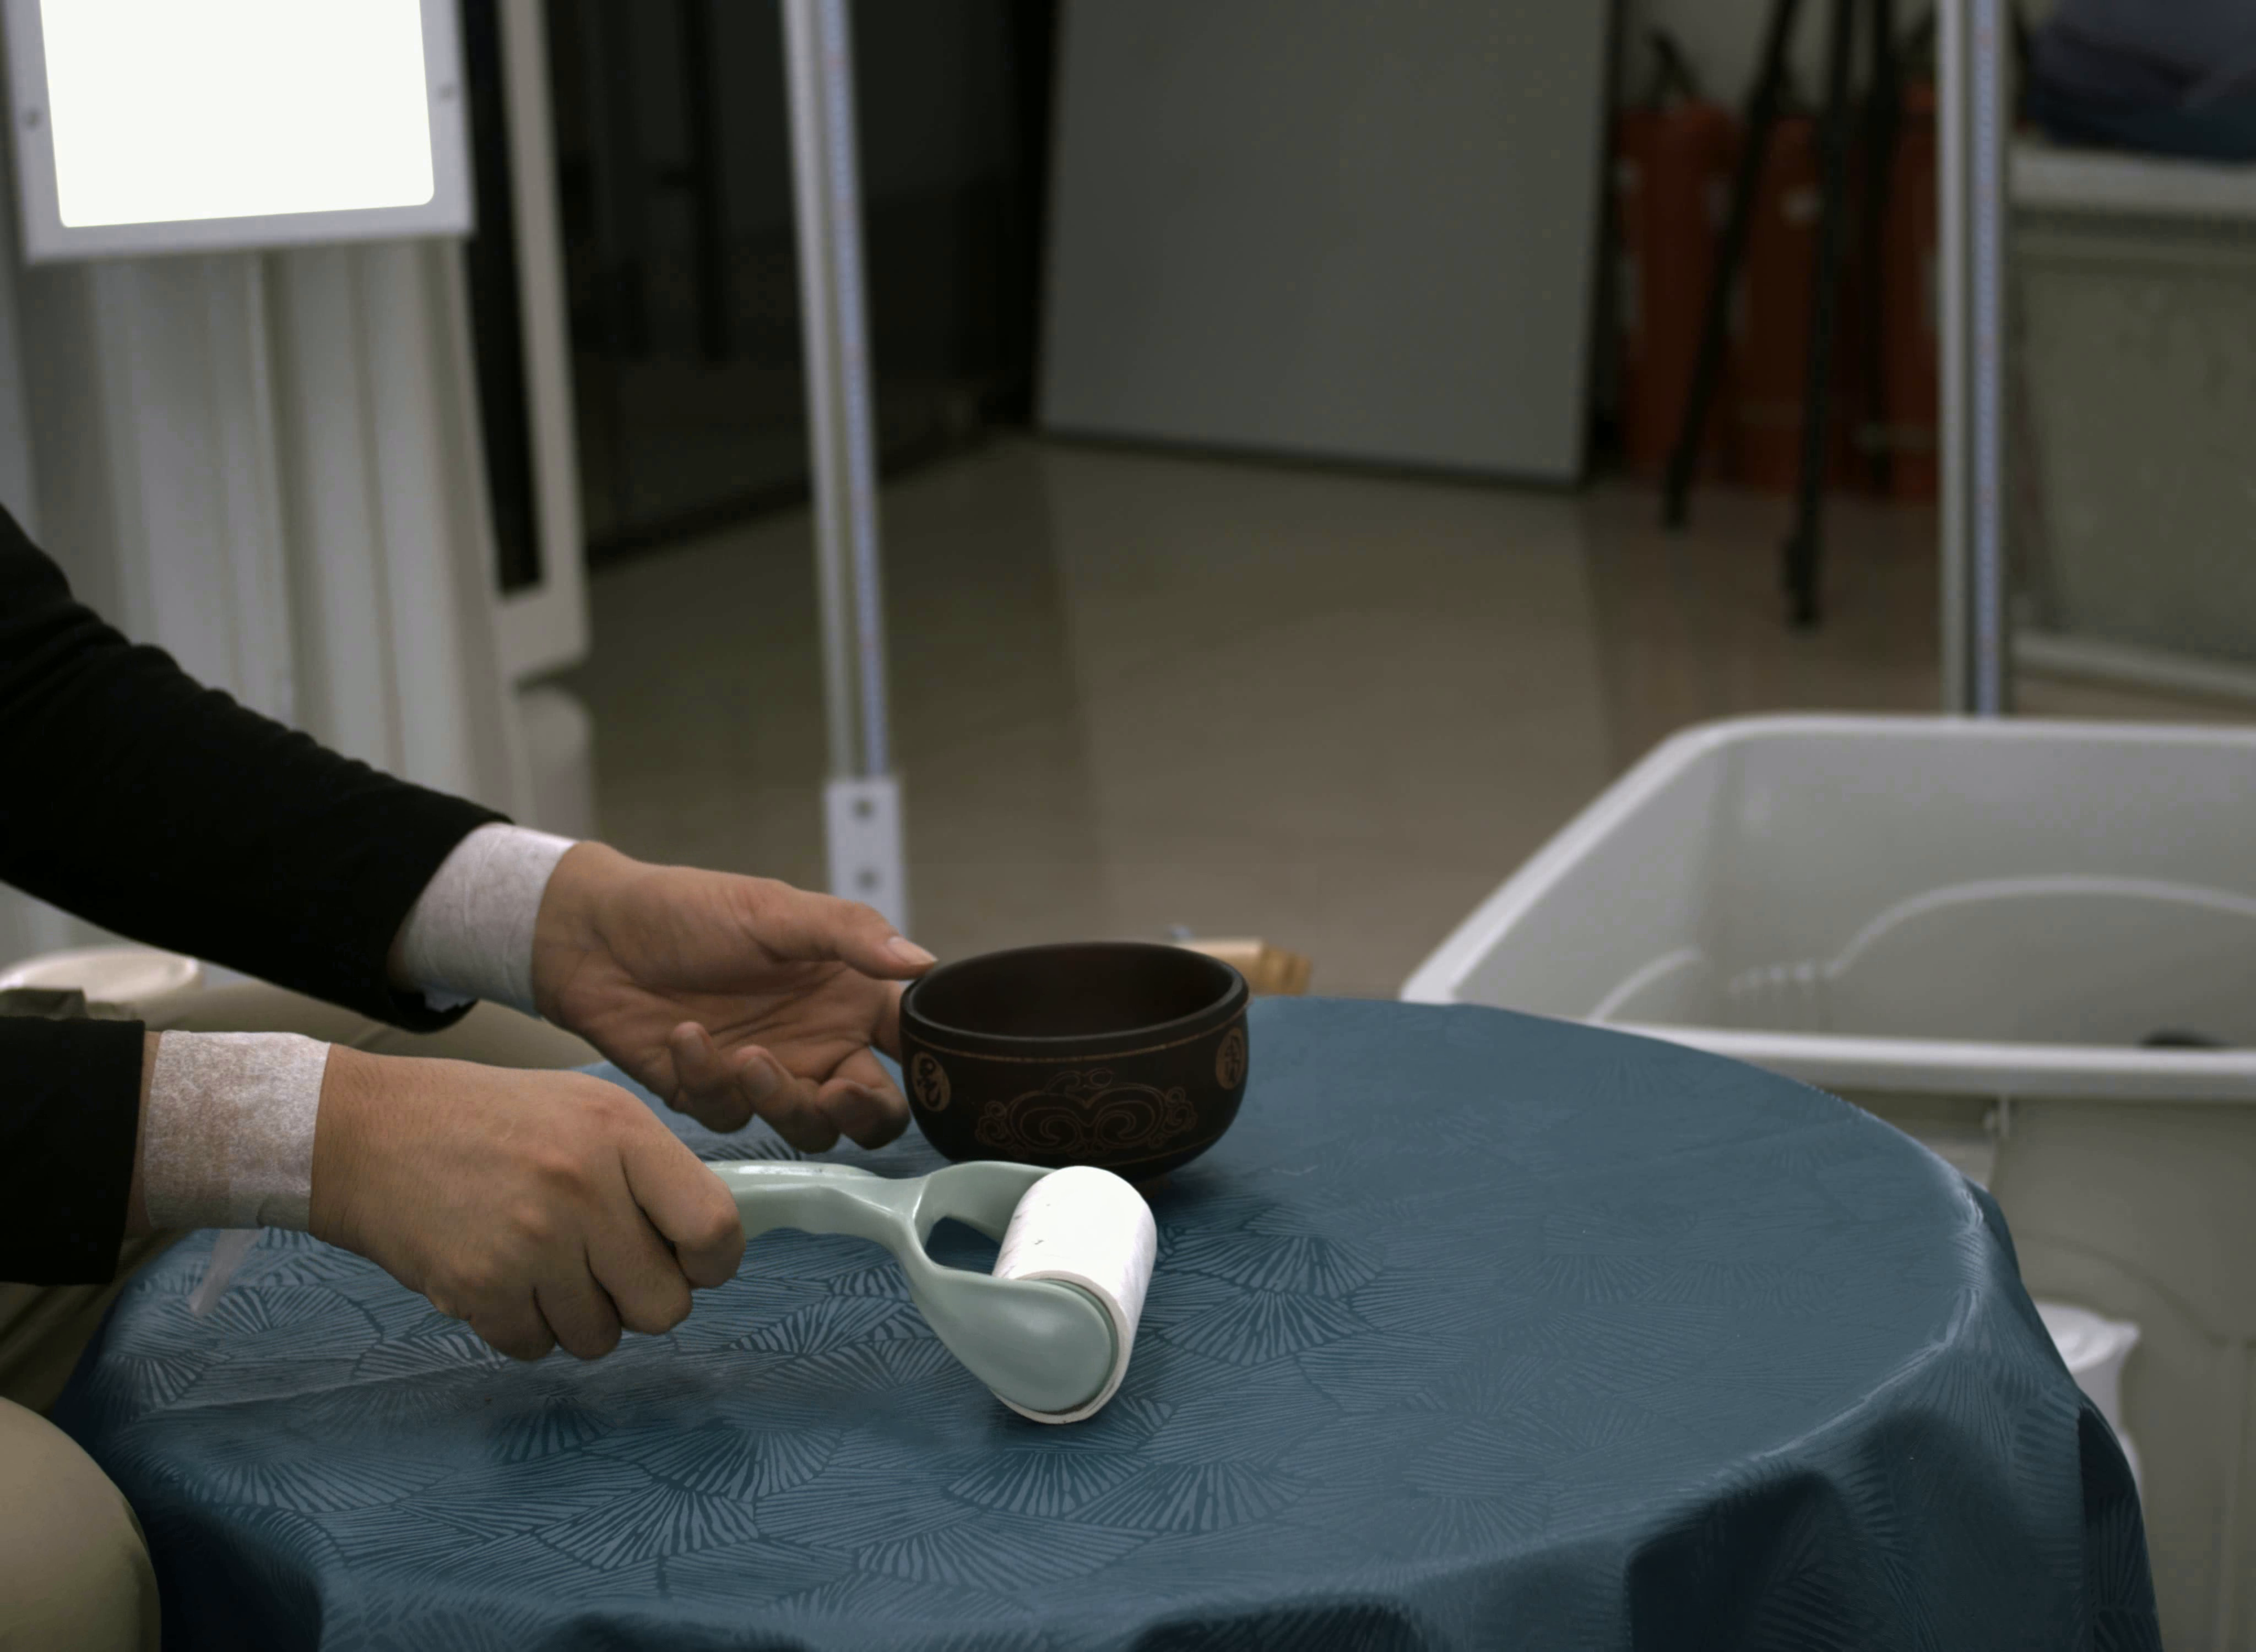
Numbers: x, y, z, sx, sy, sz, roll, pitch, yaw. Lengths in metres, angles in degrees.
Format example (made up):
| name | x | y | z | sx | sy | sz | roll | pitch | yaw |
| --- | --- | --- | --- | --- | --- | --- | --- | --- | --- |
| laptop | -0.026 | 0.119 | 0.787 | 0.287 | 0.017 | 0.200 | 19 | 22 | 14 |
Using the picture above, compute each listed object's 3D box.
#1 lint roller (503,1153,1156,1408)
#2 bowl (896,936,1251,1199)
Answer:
| name | x | y | z | sx | sy | sz | roll | pitch | yaw |
| --- | --- | --- | --- | --- | --- | --- | --- | --- | --- |
| lint roller | -0.088 | 0.125 | 1.615 | 0.195 | 0.049 | 0.116 | 8 | 15 | 4 |
| bowl | -0.016 | 0.085 | 1.770 | 0.116 | 0.070 | 0.118 | -5 | 14 | 0 |
